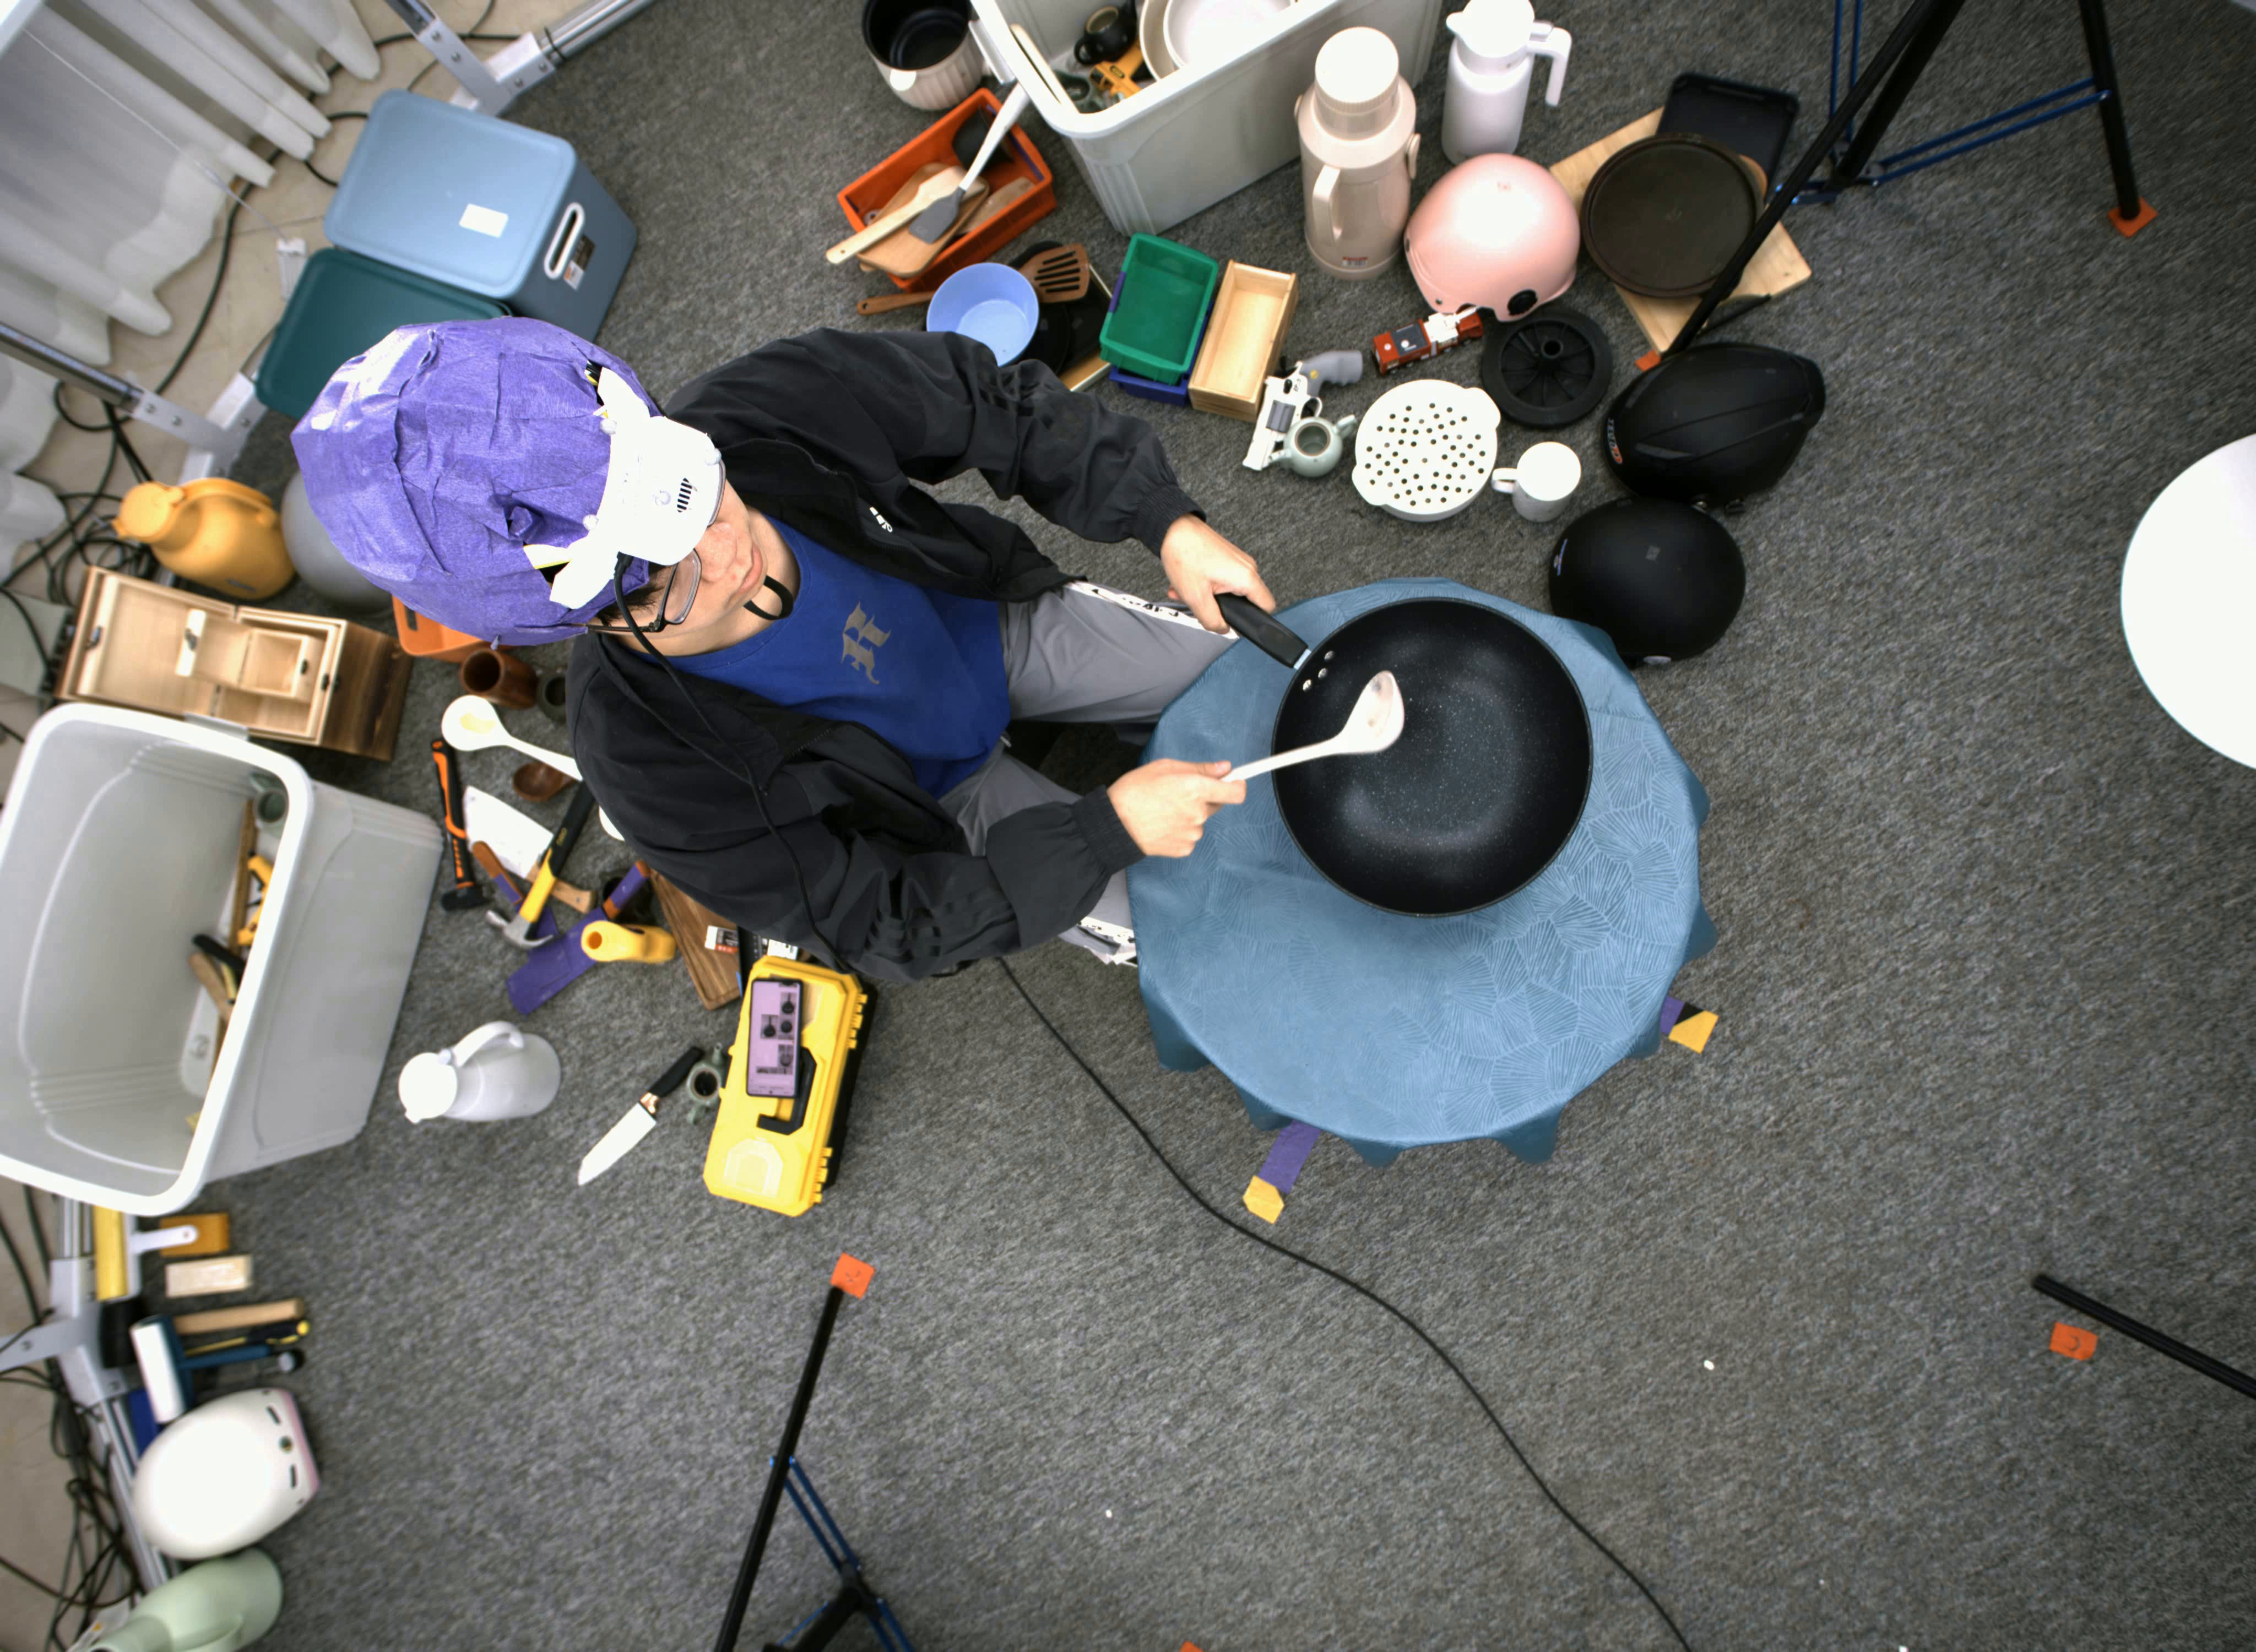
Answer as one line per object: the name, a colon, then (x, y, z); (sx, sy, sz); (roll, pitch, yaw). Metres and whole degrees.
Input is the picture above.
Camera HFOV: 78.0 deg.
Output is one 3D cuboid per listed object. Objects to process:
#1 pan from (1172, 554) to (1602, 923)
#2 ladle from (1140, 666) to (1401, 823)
pan: (0.241, -0.116, 1.362); (0.474, 0.111, 0.314); (40, 106, 14)
ladle: (0.130, -0.078, 1.326); (0.276, 0.087, 0.070); (-19, 116, 10)
